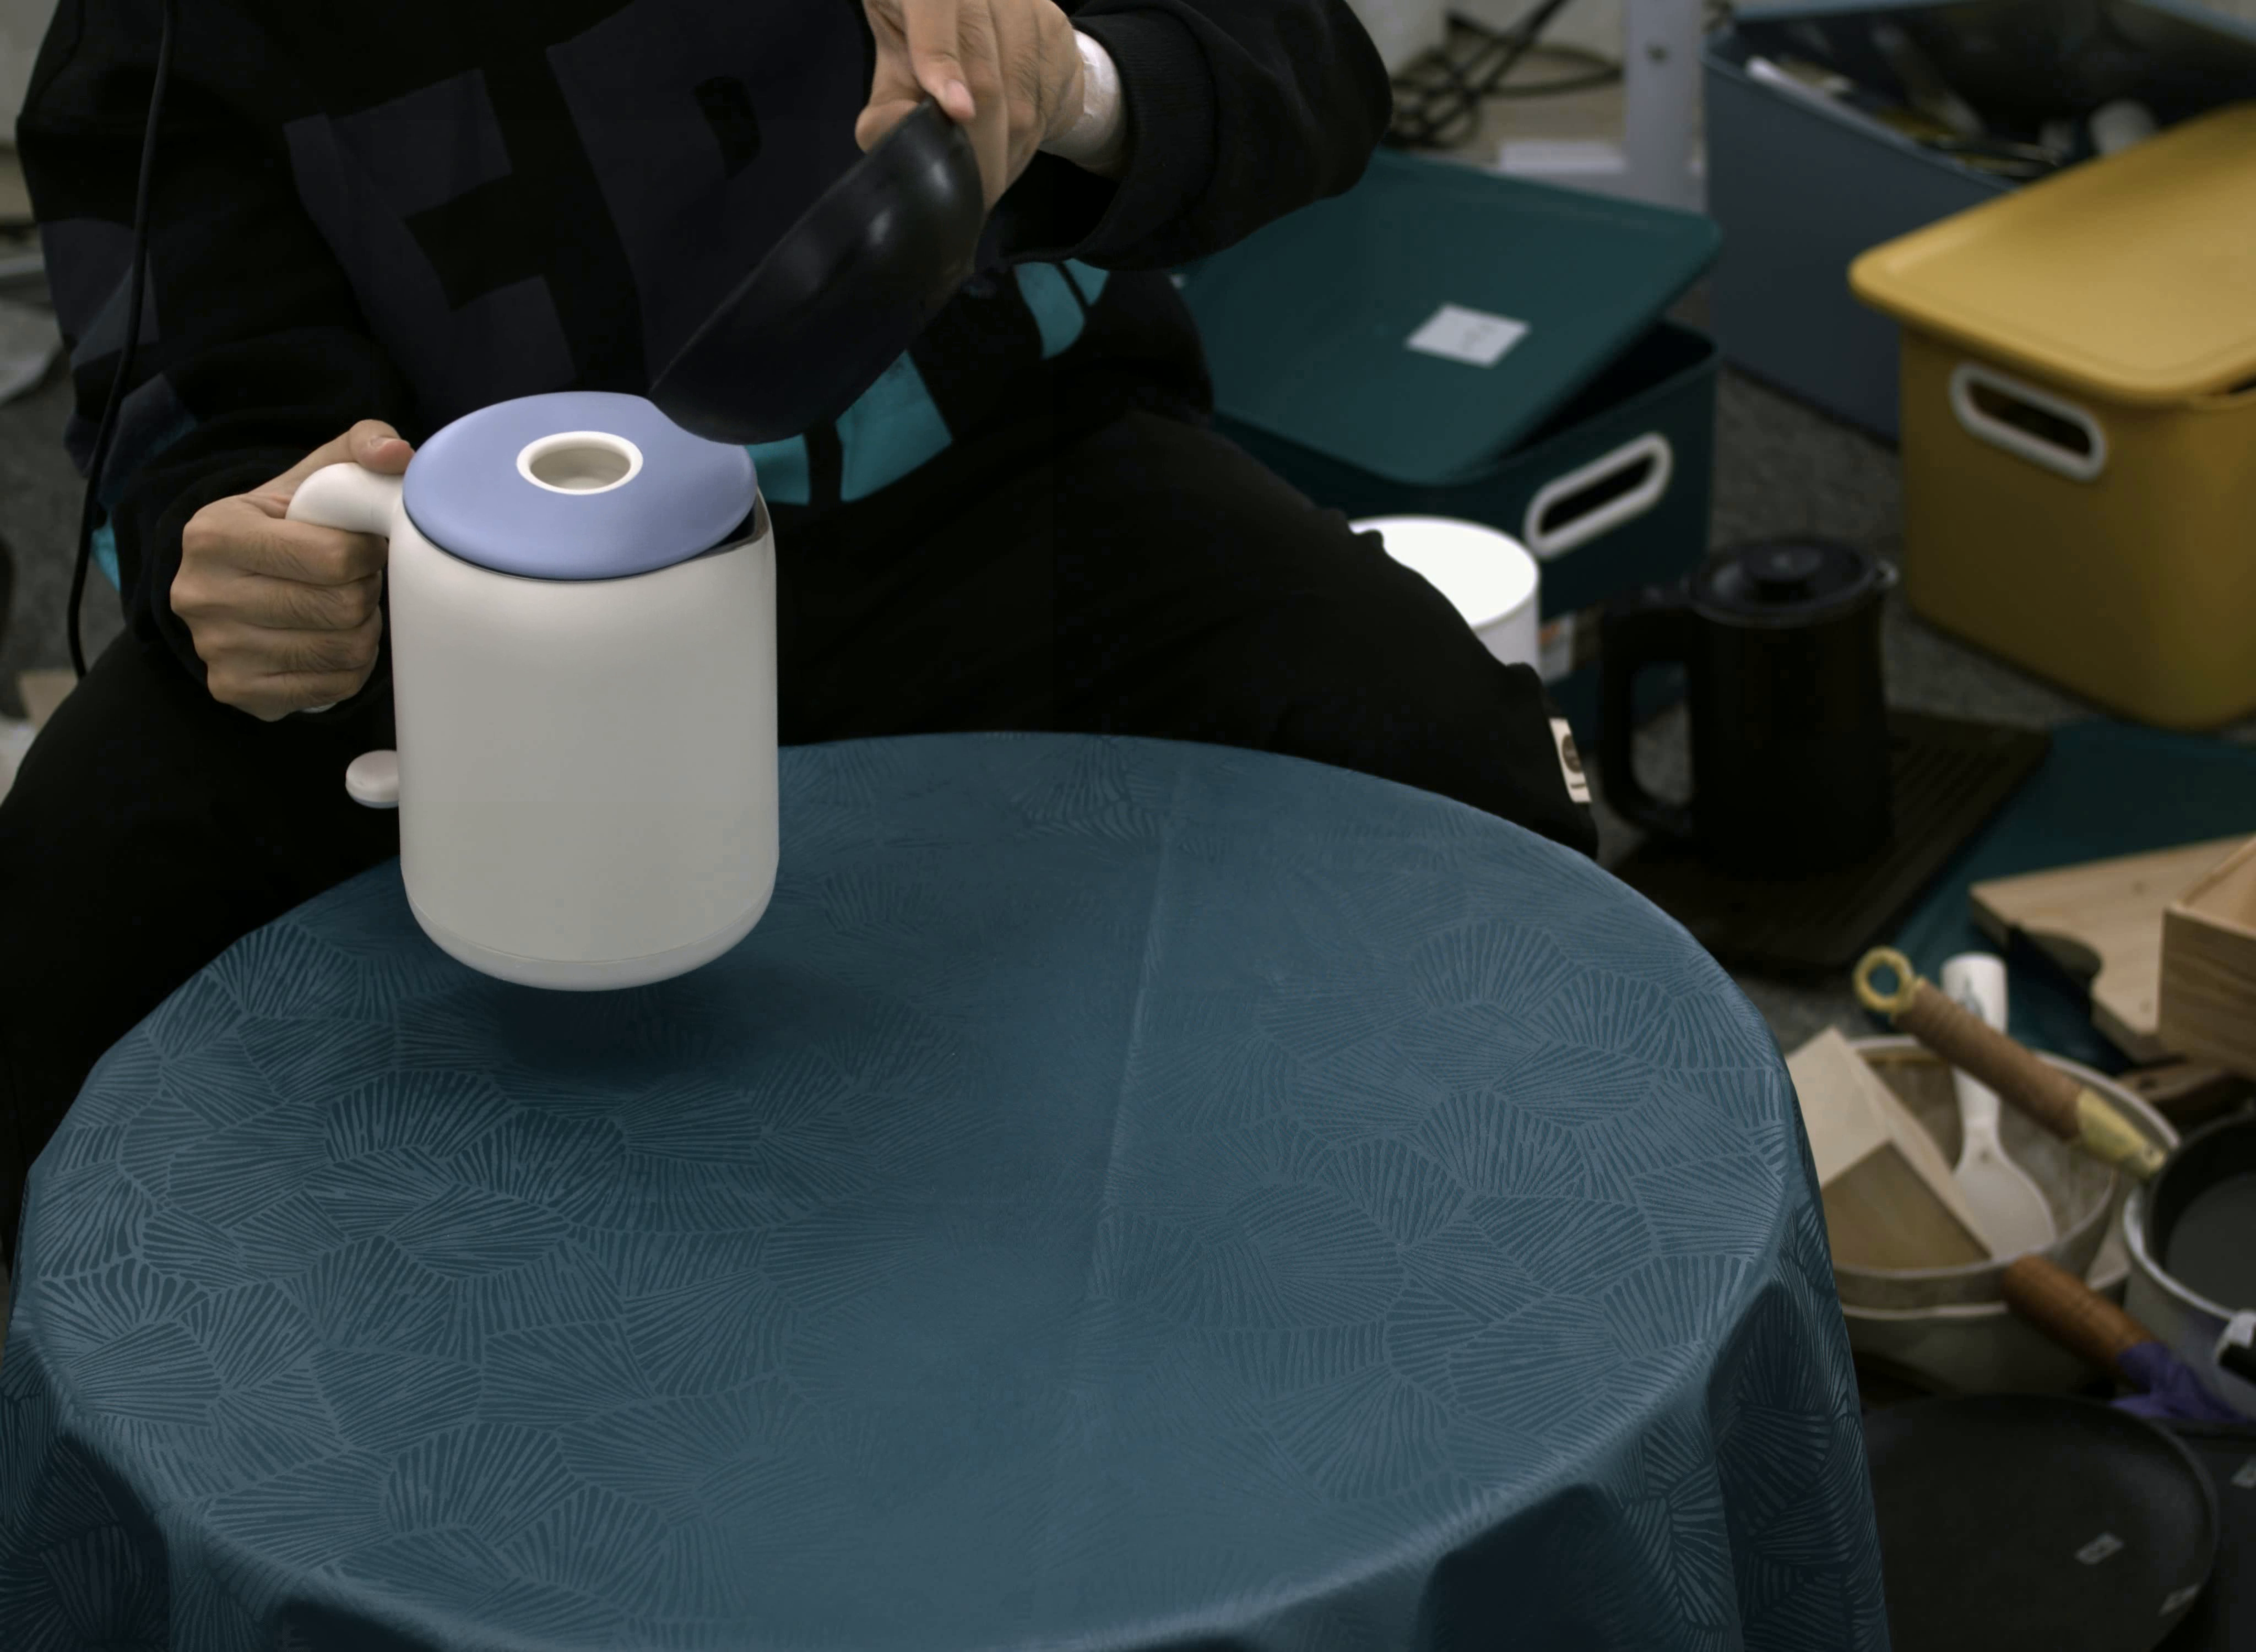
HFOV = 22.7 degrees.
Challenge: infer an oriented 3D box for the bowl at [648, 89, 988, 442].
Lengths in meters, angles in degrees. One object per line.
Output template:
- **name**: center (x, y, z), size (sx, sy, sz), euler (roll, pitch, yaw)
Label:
- **bowl**: center (-0.089, -0.170, 1.811), size (0.050, 0.138, 0.142), euler (44, 35, -3)

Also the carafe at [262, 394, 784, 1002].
- **carafe**: center (-0.208, -0.047, 1.920), size (0.190, 0.180, 0.134), euler (8, 30, 16)
